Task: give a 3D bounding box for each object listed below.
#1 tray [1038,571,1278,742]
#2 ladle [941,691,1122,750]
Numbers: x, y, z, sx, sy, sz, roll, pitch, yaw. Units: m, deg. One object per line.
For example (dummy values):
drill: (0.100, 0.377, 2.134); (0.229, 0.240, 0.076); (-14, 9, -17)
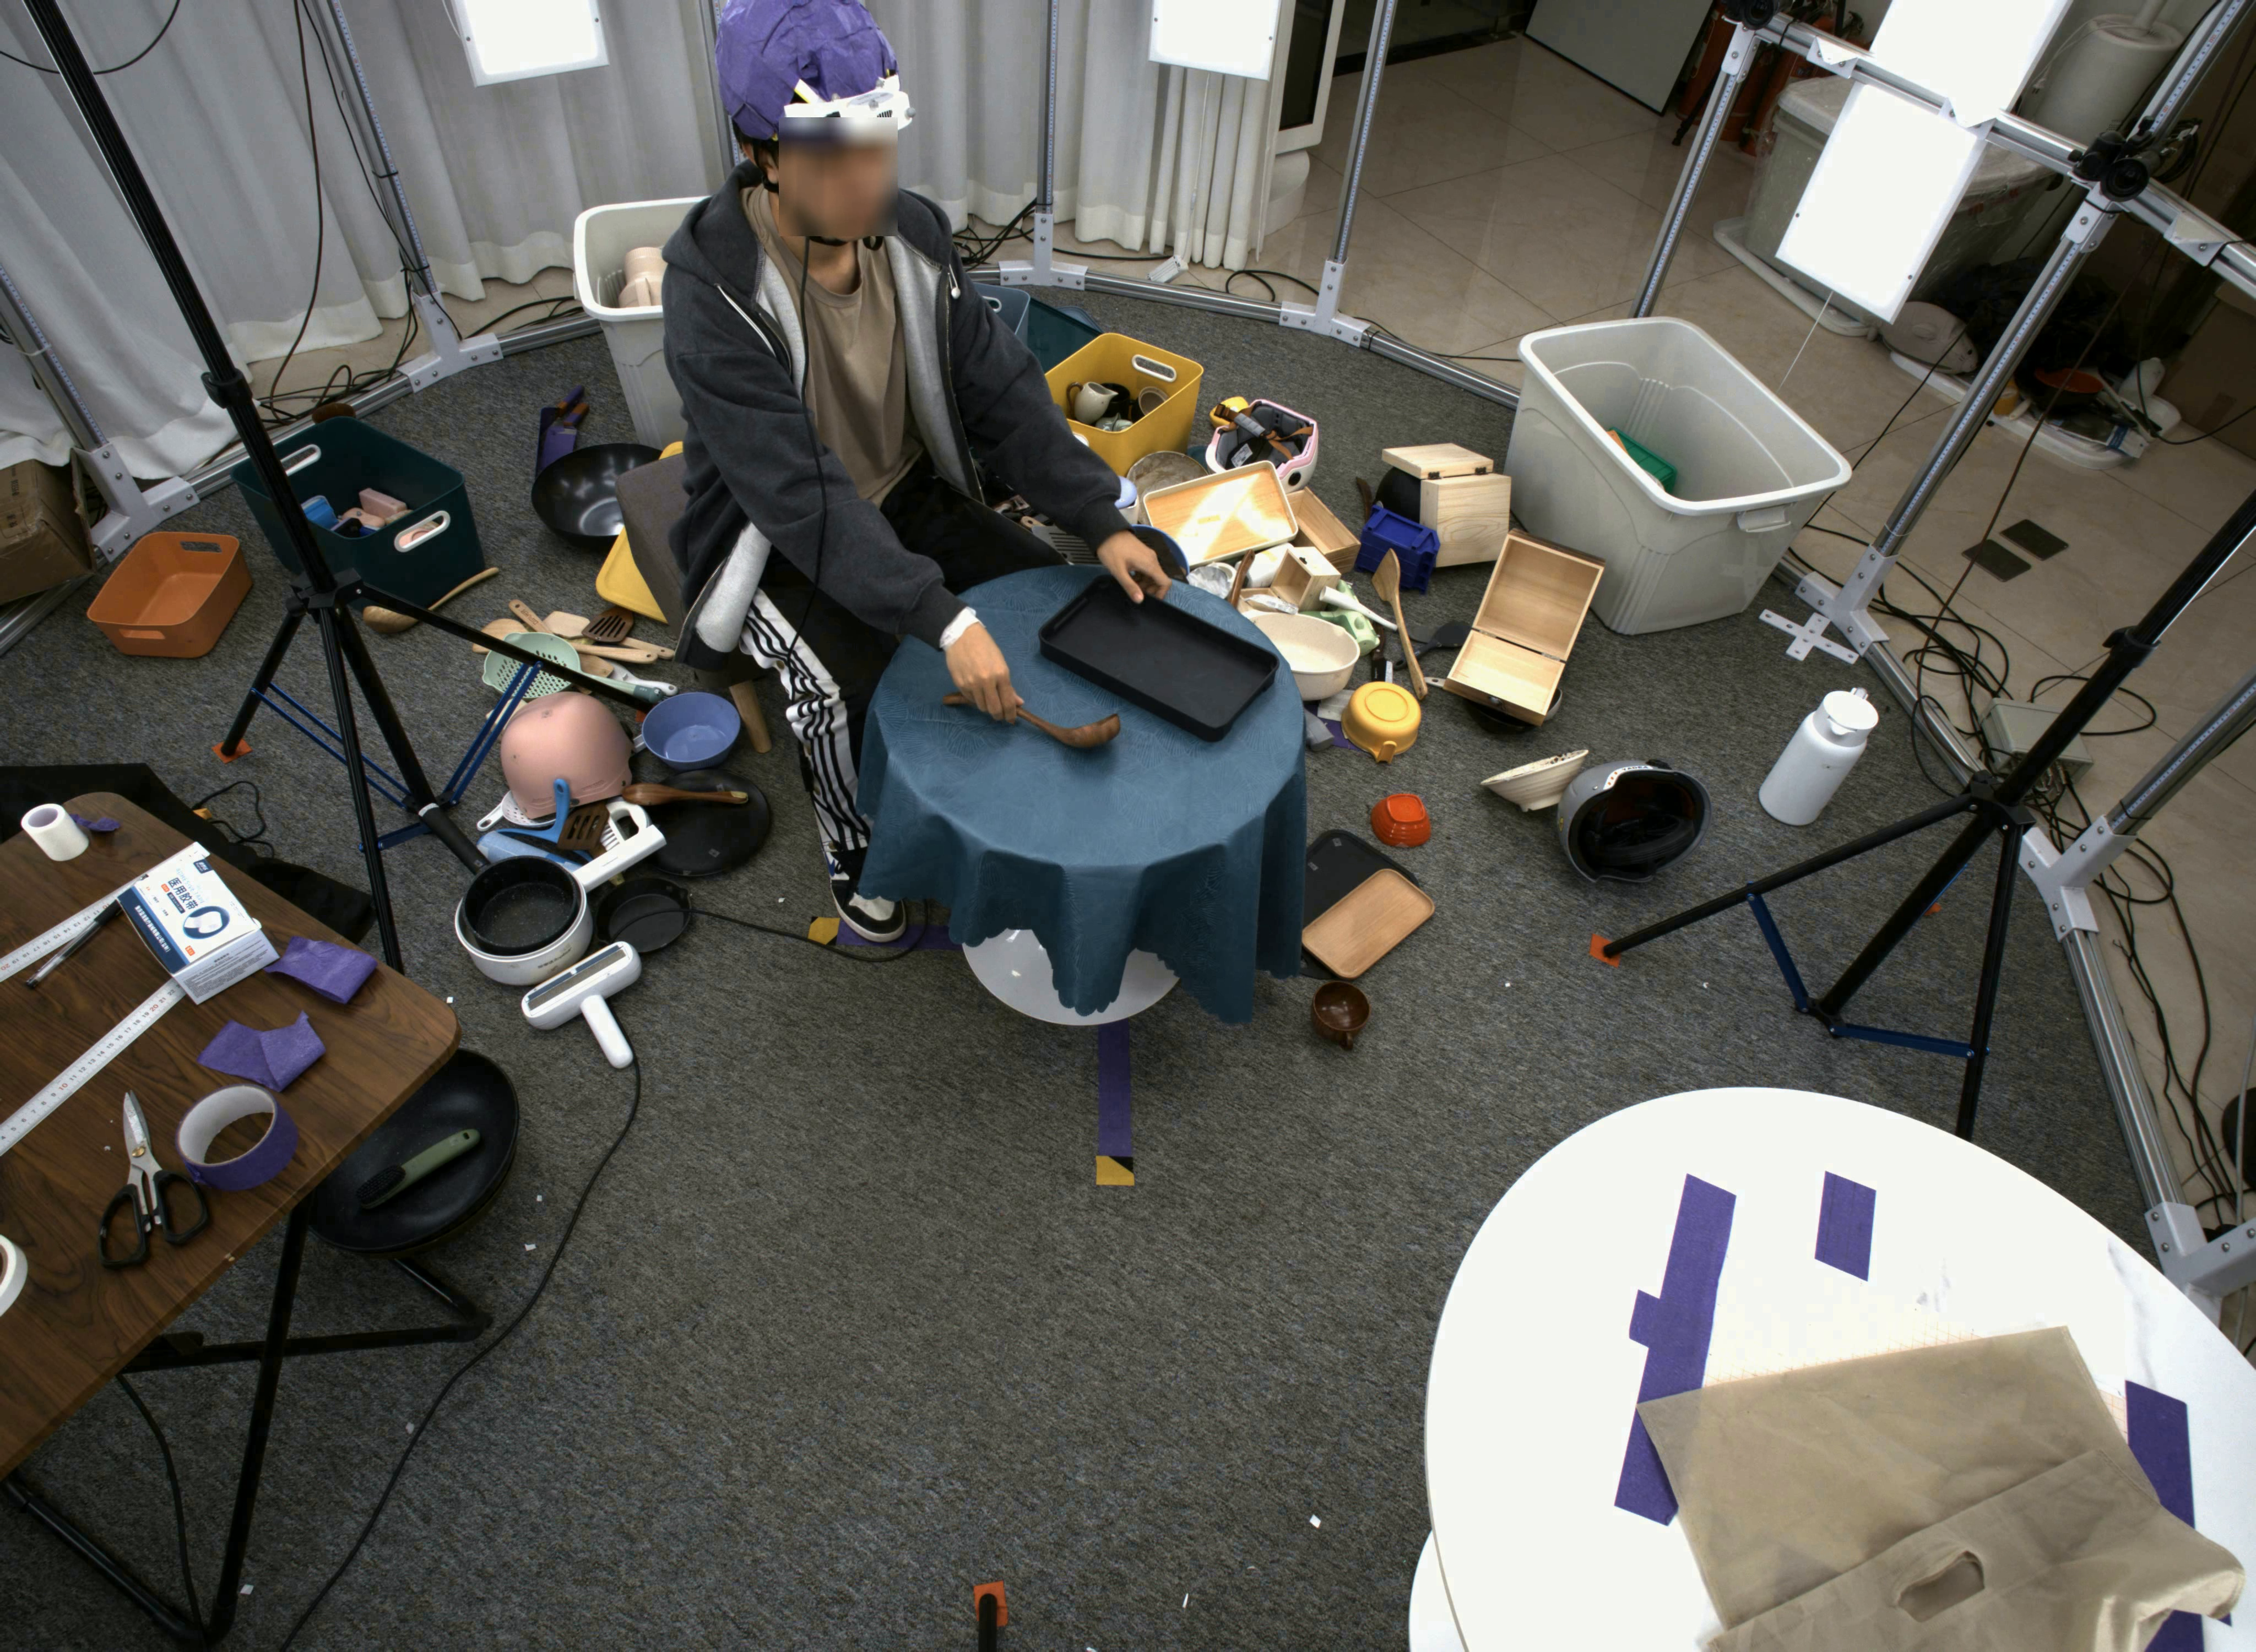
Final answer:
tray: (0.042, -0.250, 1.860); (0.321, 0.036, 0.187); (30, 54, 19)
ladle: (-0.133, -0.160, 1.756); (0.261, 0.064, 0.077); (20, 24, 13)
